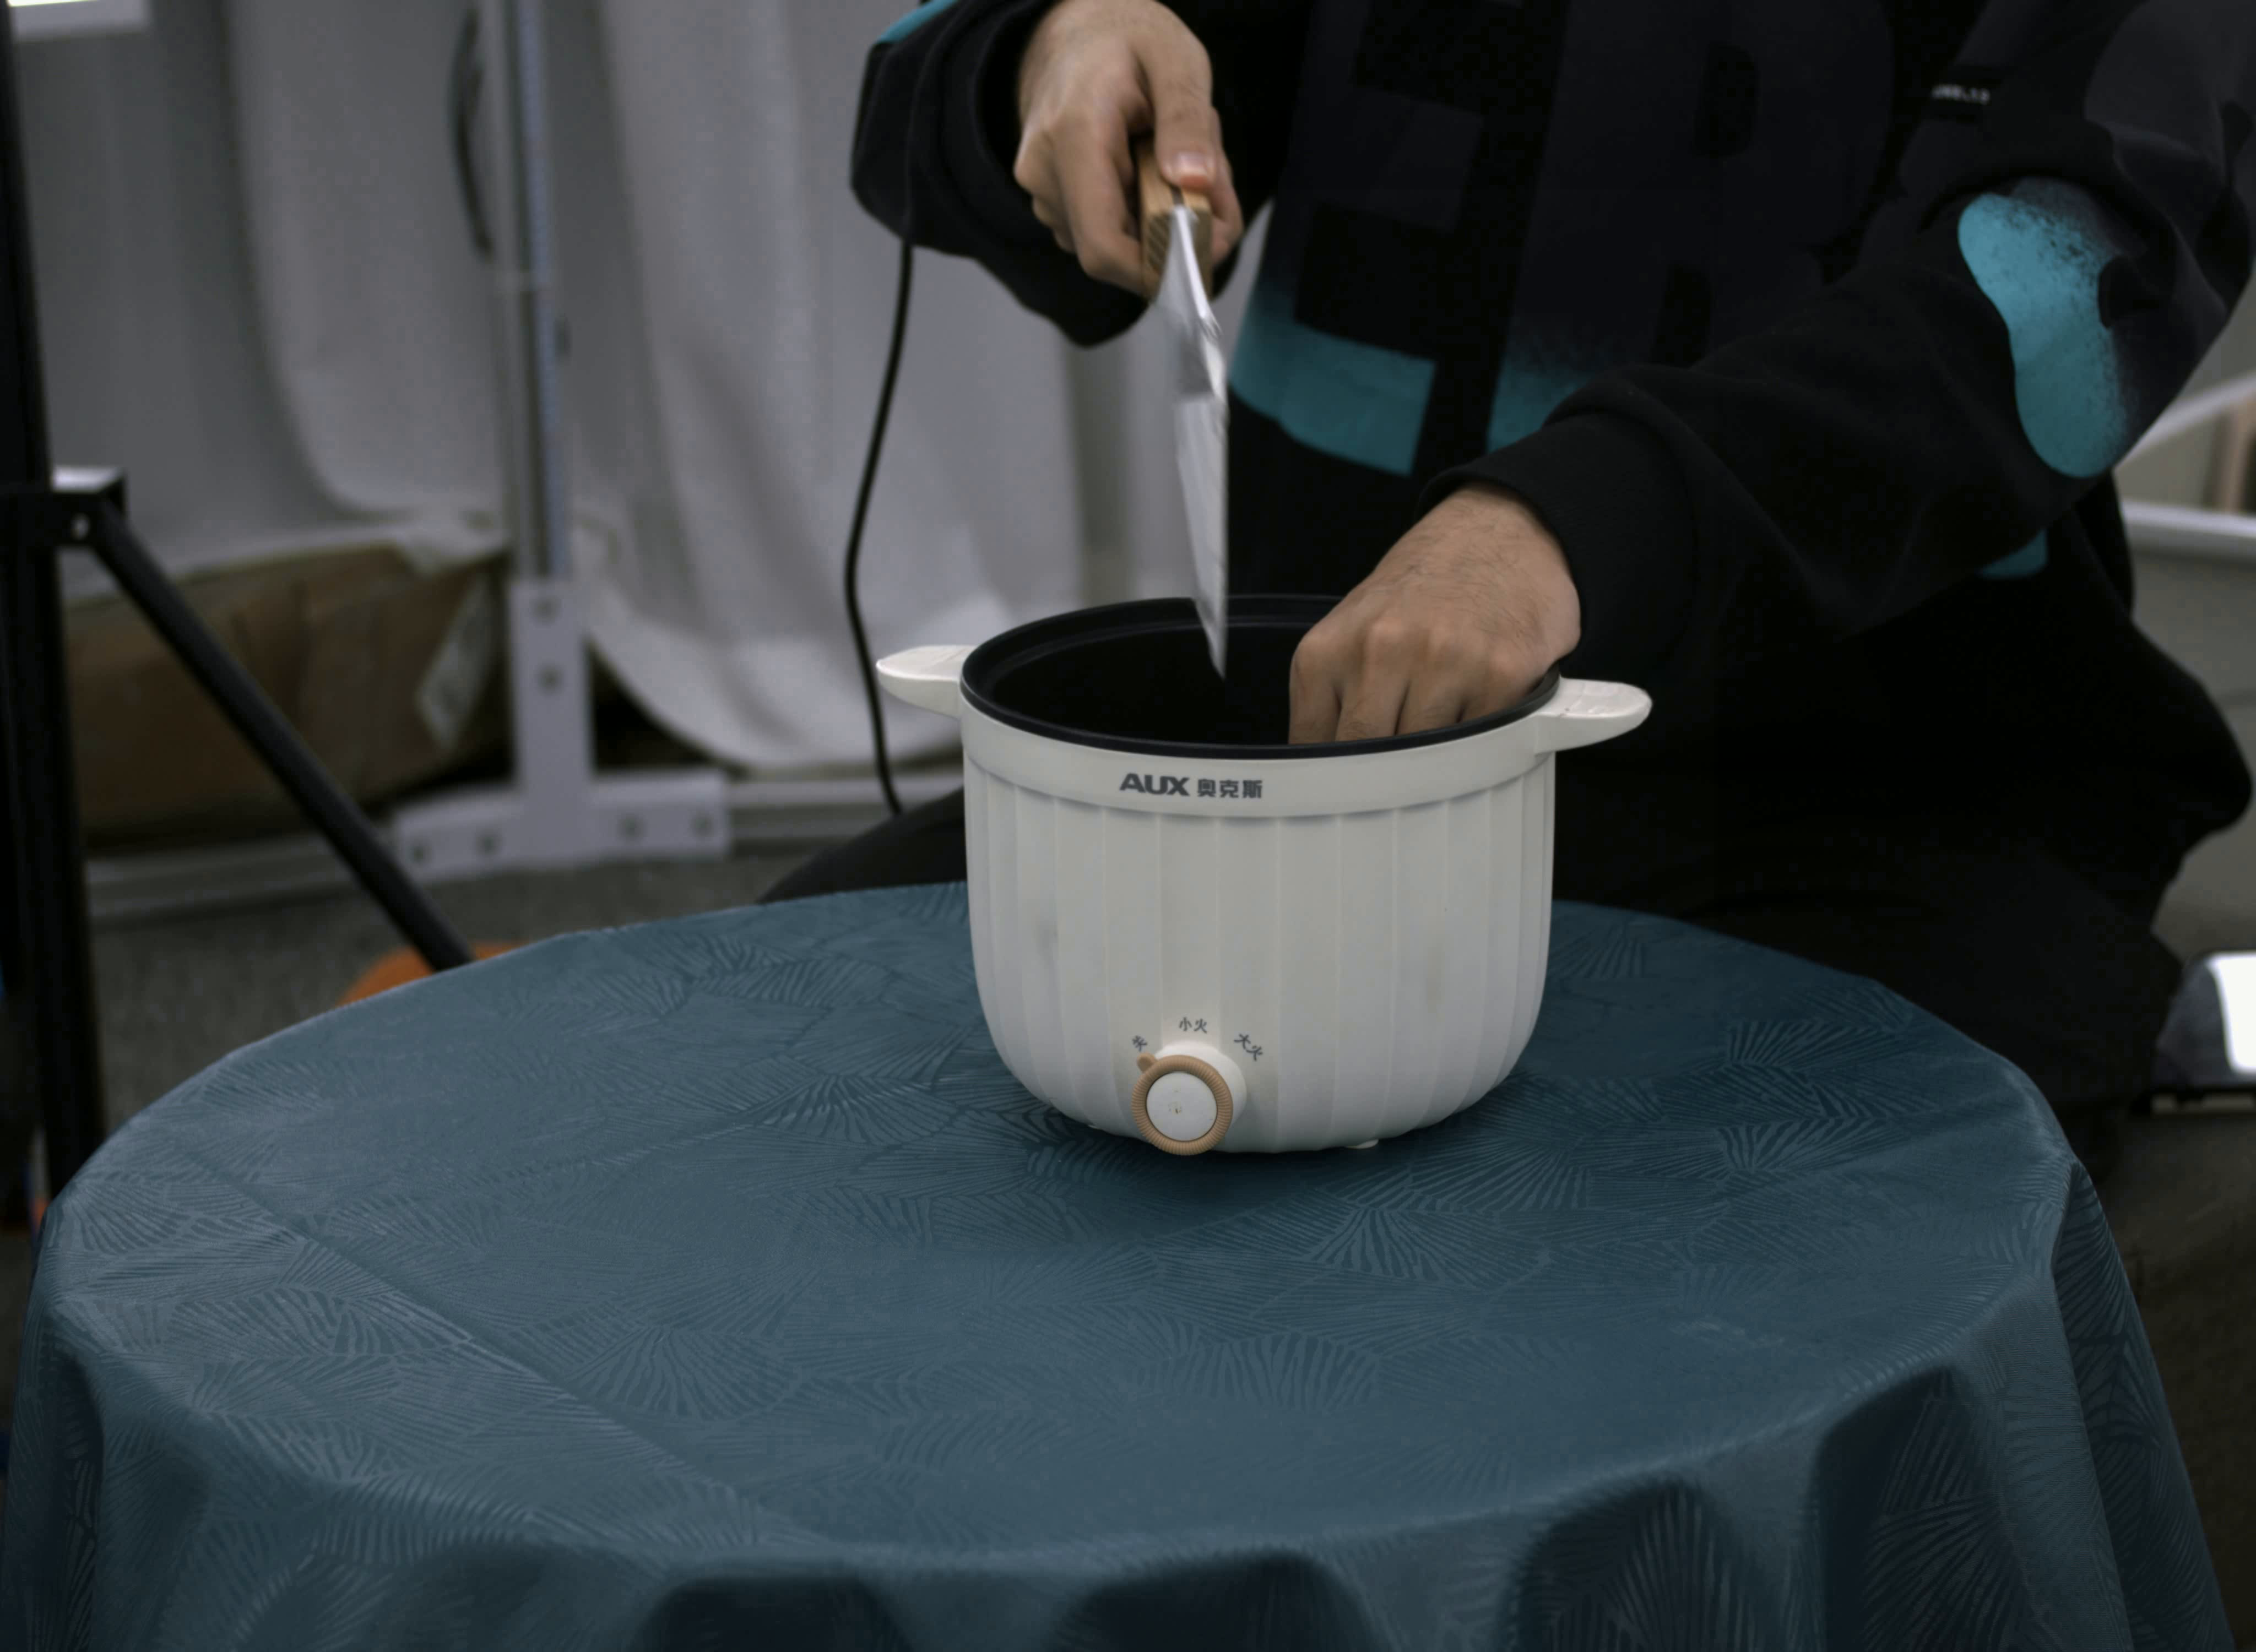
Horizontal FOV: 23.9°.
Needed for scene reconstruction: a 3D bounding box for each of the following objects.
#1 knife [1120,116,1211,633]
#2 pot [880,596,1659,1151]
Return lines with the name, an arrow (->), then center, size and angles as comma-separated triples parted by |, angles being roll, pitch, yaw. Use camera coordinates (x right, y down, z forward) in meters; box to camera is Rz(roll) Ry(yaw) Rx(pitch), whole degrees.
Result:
knife -> 0.015, -0.159, 1.676 | 0.021, 0.113, 0.318 | -1, 26, -3
pot -> 0.041, 0.017, 1.612 | 0.242, 0.143, 0.189 | 2, 13, 16
